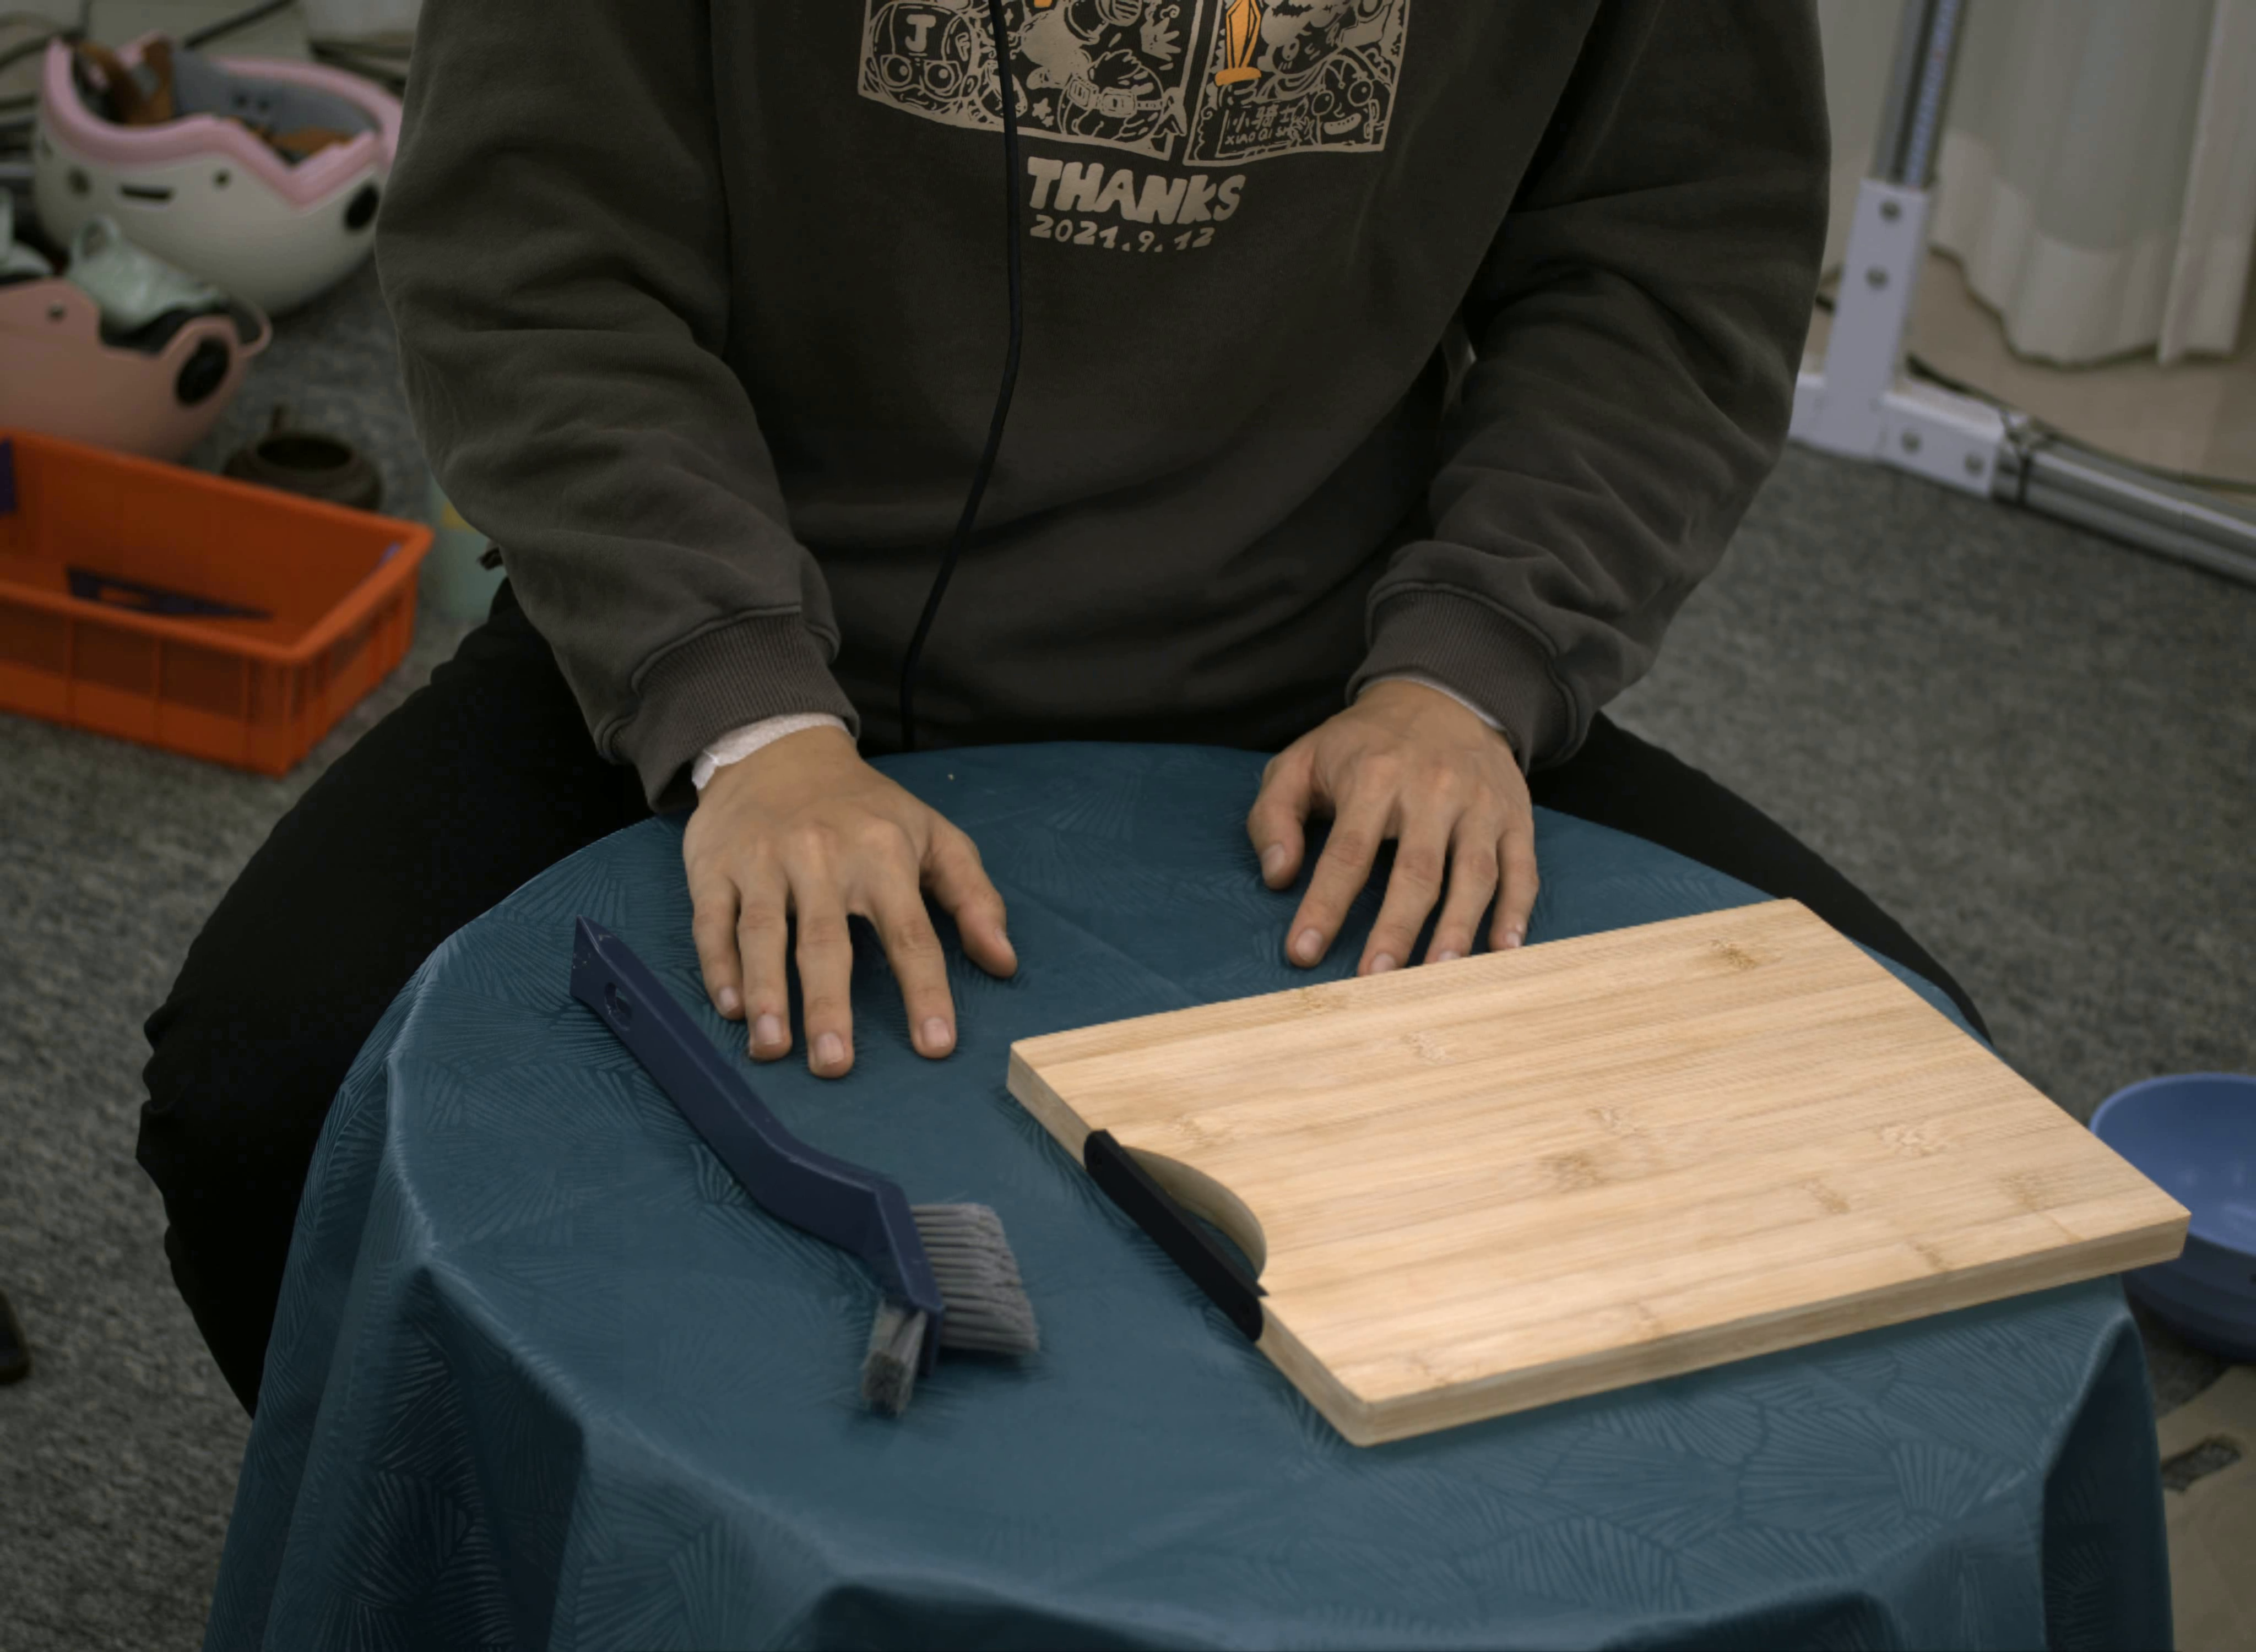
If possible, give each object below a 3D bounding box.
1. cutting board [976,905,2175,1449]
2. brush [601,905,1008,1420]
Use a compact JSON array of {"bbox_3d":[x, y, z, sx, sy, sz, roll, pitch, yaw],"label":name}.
[{"bbox_3d":[0.155,0.114,1.840,0.346,0.023,0.253,-9,30,-29],"label":"cutting board"},{"bbox_3d":[-0.128,0.107,1.773,0.095,0.033,0.275,-14,34,-34],"label":"brush"}]
